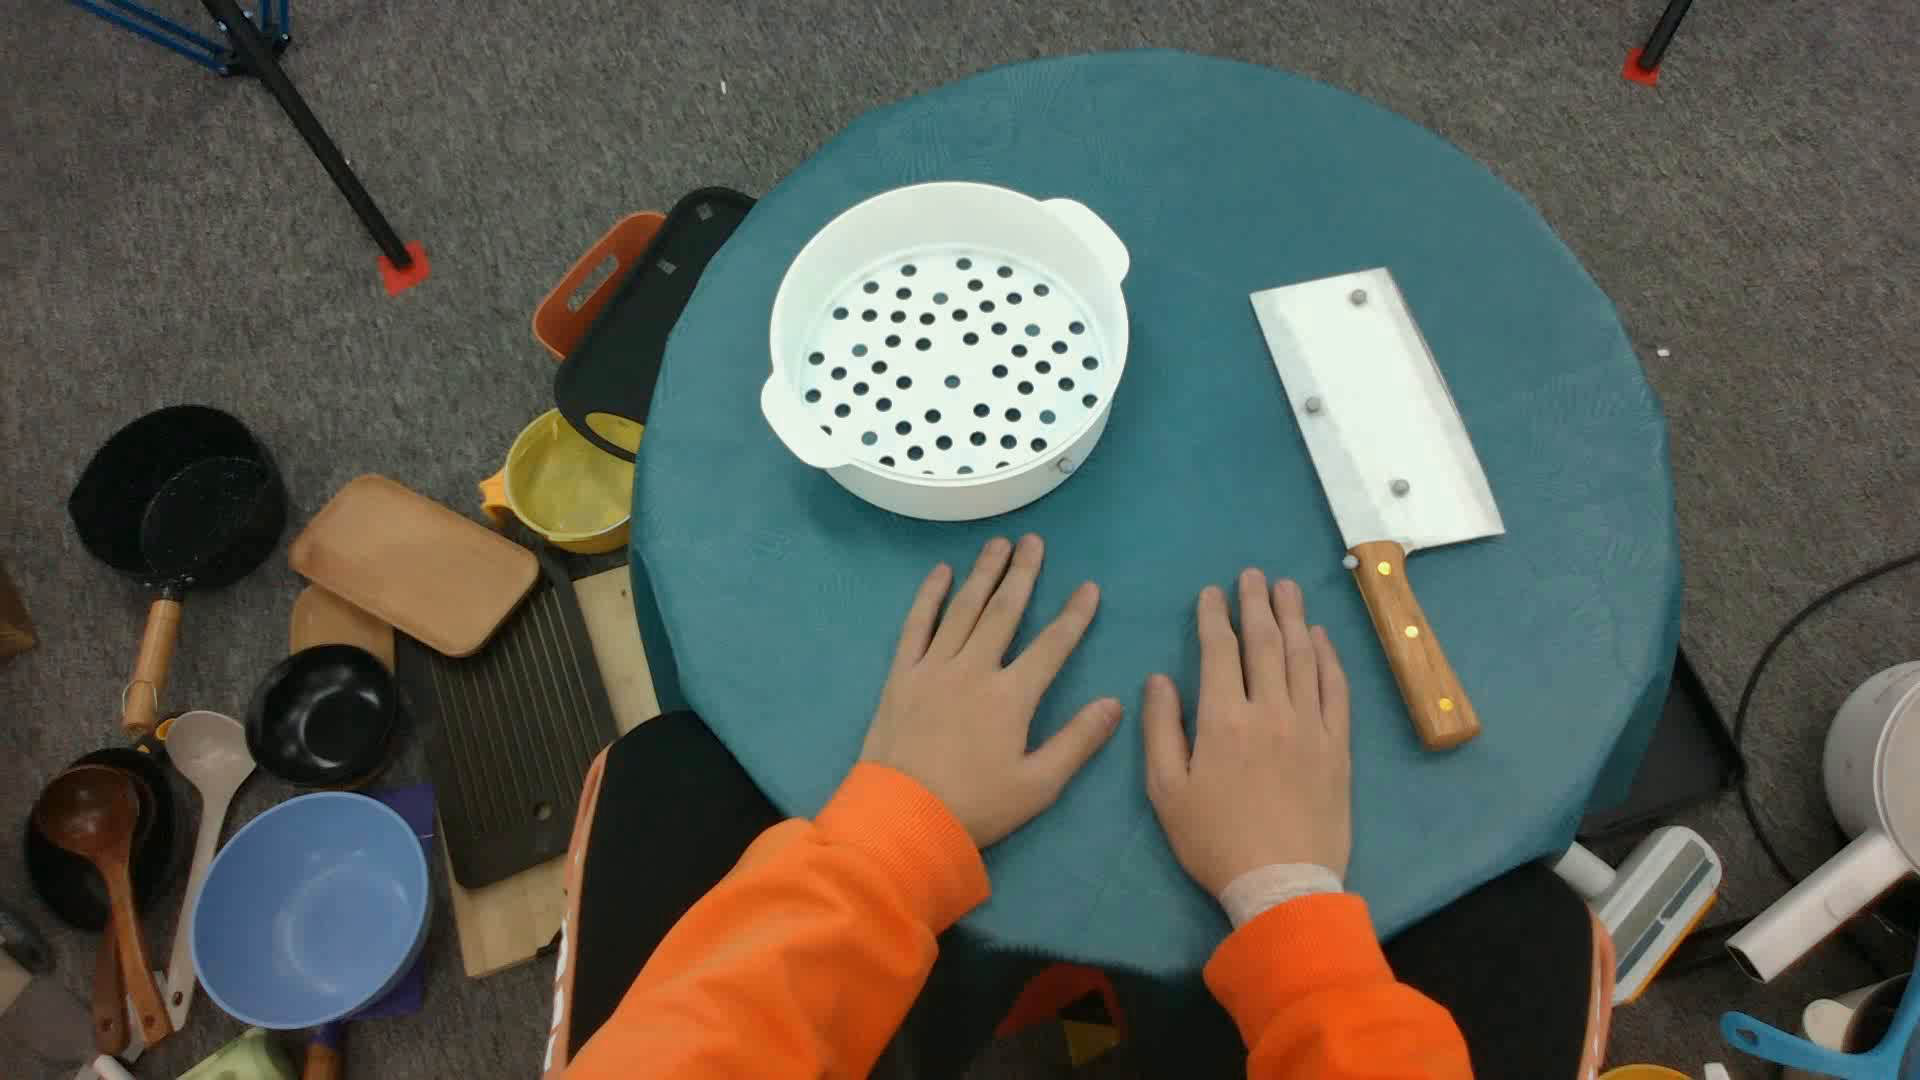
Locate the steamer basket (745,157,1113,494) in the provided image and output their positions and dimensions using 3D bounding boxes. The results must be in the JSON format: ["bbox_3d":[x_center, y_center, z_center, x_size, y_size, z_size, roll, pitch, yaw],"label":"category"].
[{"bbox_3d":[-0.015,-0.123,0.796,0.231,0.069,0.202,-35,71,-16],"label":"steamer basket"}]

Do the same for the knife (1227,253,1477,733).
[{"bbox_3d":[0.240,-0.041,0.786,0.093,0.021,0.306,-12,64,-6],"label":"knife"}]
